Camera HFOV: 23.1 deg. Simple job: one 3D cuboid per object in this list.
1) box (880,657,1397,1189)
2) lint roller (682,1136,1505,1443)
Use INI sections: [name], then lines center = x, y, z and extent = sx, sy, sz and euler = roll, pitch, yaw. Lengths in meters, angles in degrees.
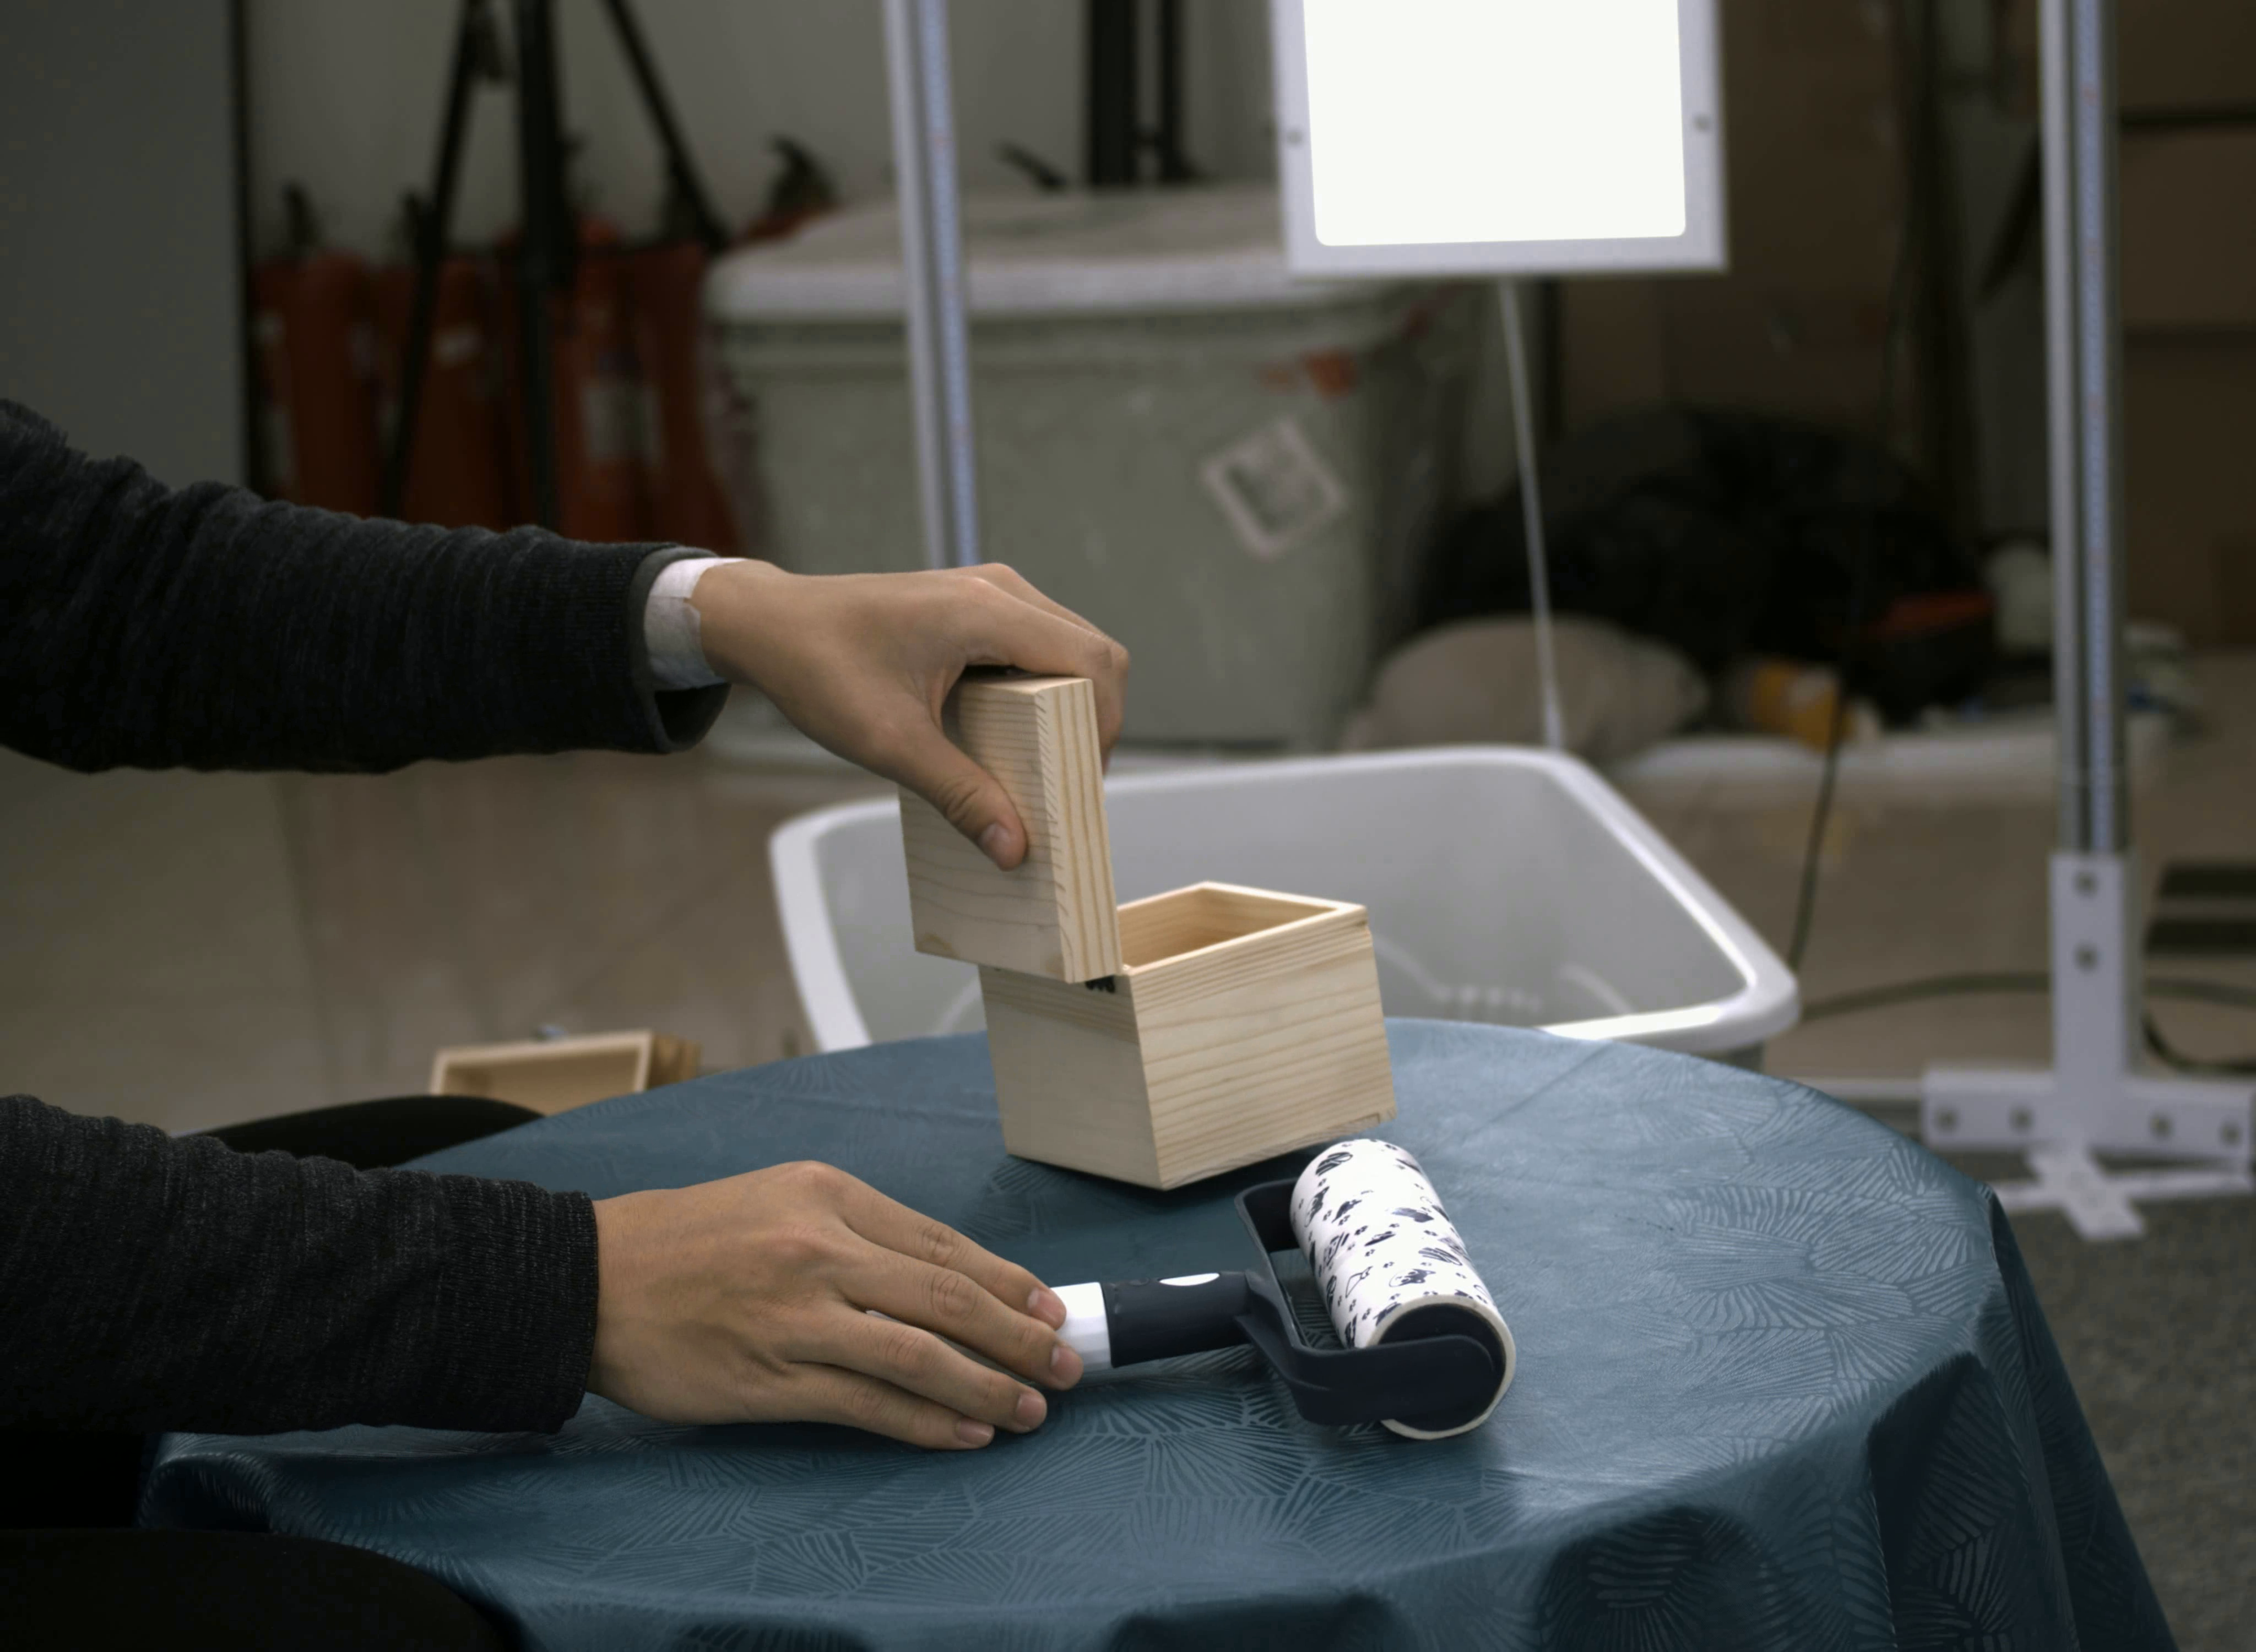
[box]
center = 0.005, 0.023, 1.913
extent = 0.131, 0.185, 0.104
euler = -15, 11, -30
[lint roller]
center = -0.016, 0.154, 1.703
extent = 0.246, 0.050, 0.176
euler = -7, 15, -3
